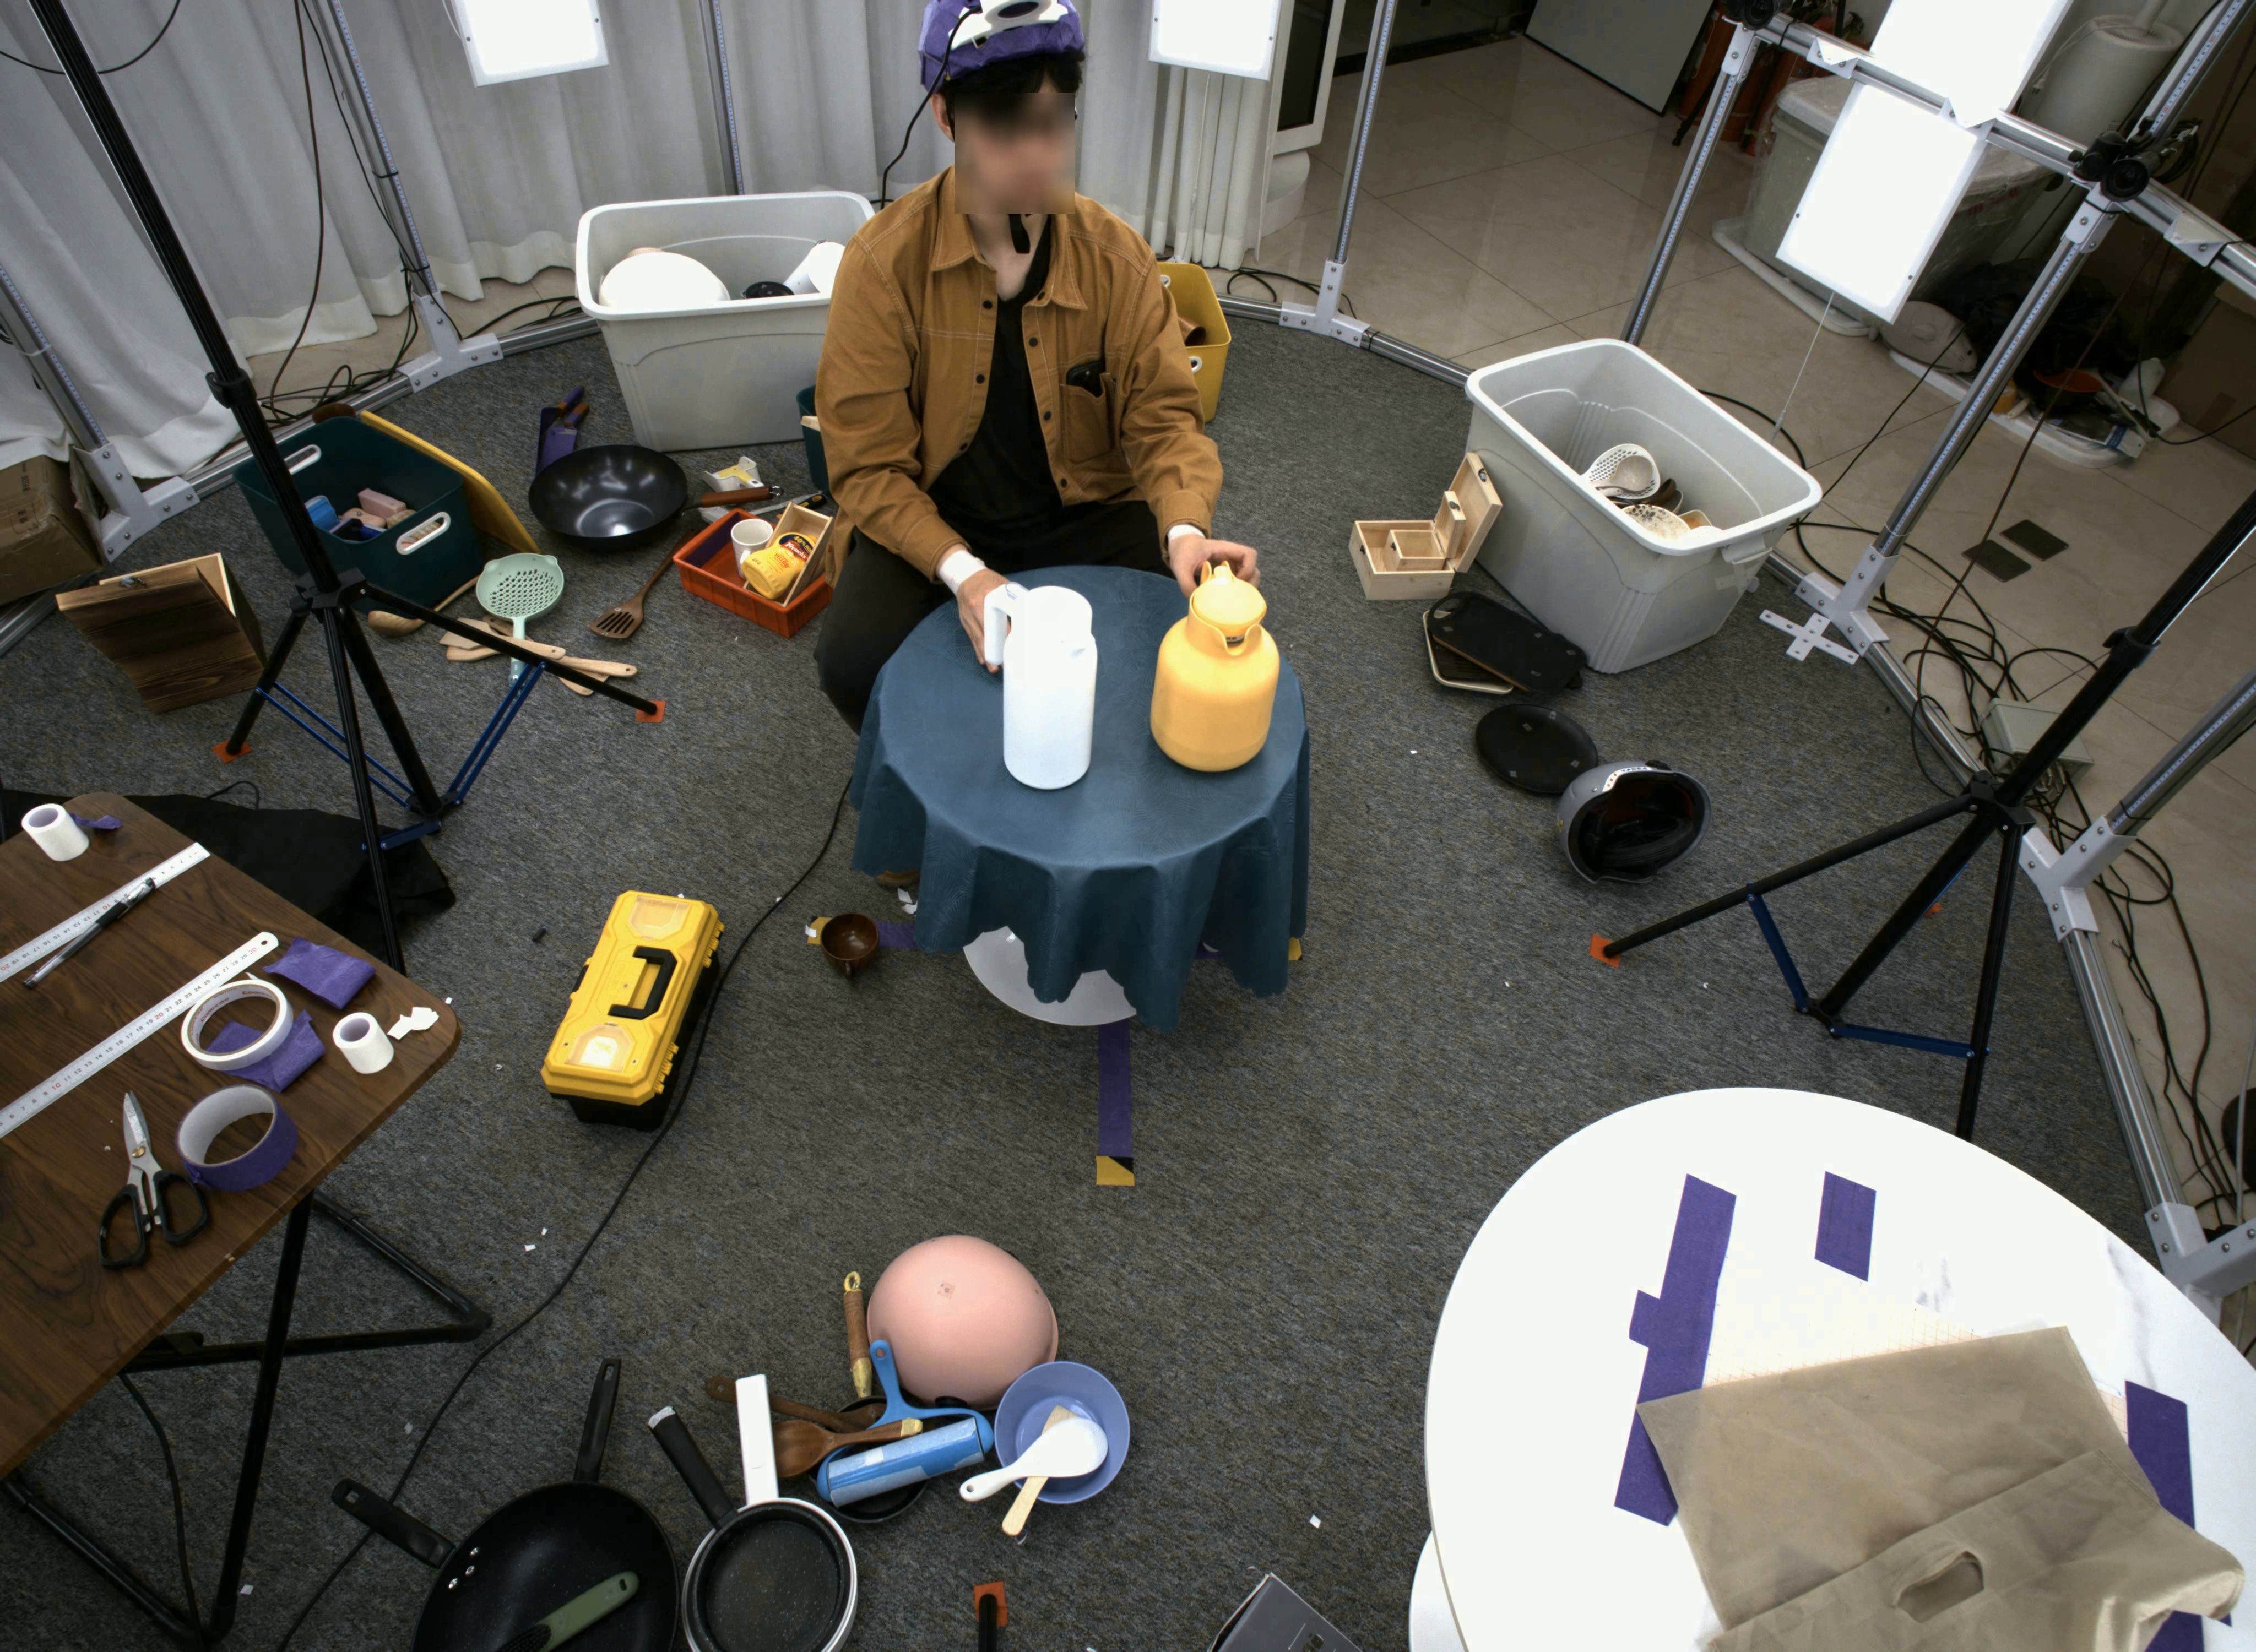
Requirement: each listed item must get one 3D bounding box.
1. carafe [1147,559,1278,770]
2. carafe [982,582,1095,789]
[{"bbox_3d":[0.115,-0.221,1.698,0.163,0.254,0.207,2,51,-6],"label":"carafe"},{"bbox_3d":[-0.117,-0.183,1.648,0.175,0.262,0.125,36,58,24],"label":"carafe"}]
